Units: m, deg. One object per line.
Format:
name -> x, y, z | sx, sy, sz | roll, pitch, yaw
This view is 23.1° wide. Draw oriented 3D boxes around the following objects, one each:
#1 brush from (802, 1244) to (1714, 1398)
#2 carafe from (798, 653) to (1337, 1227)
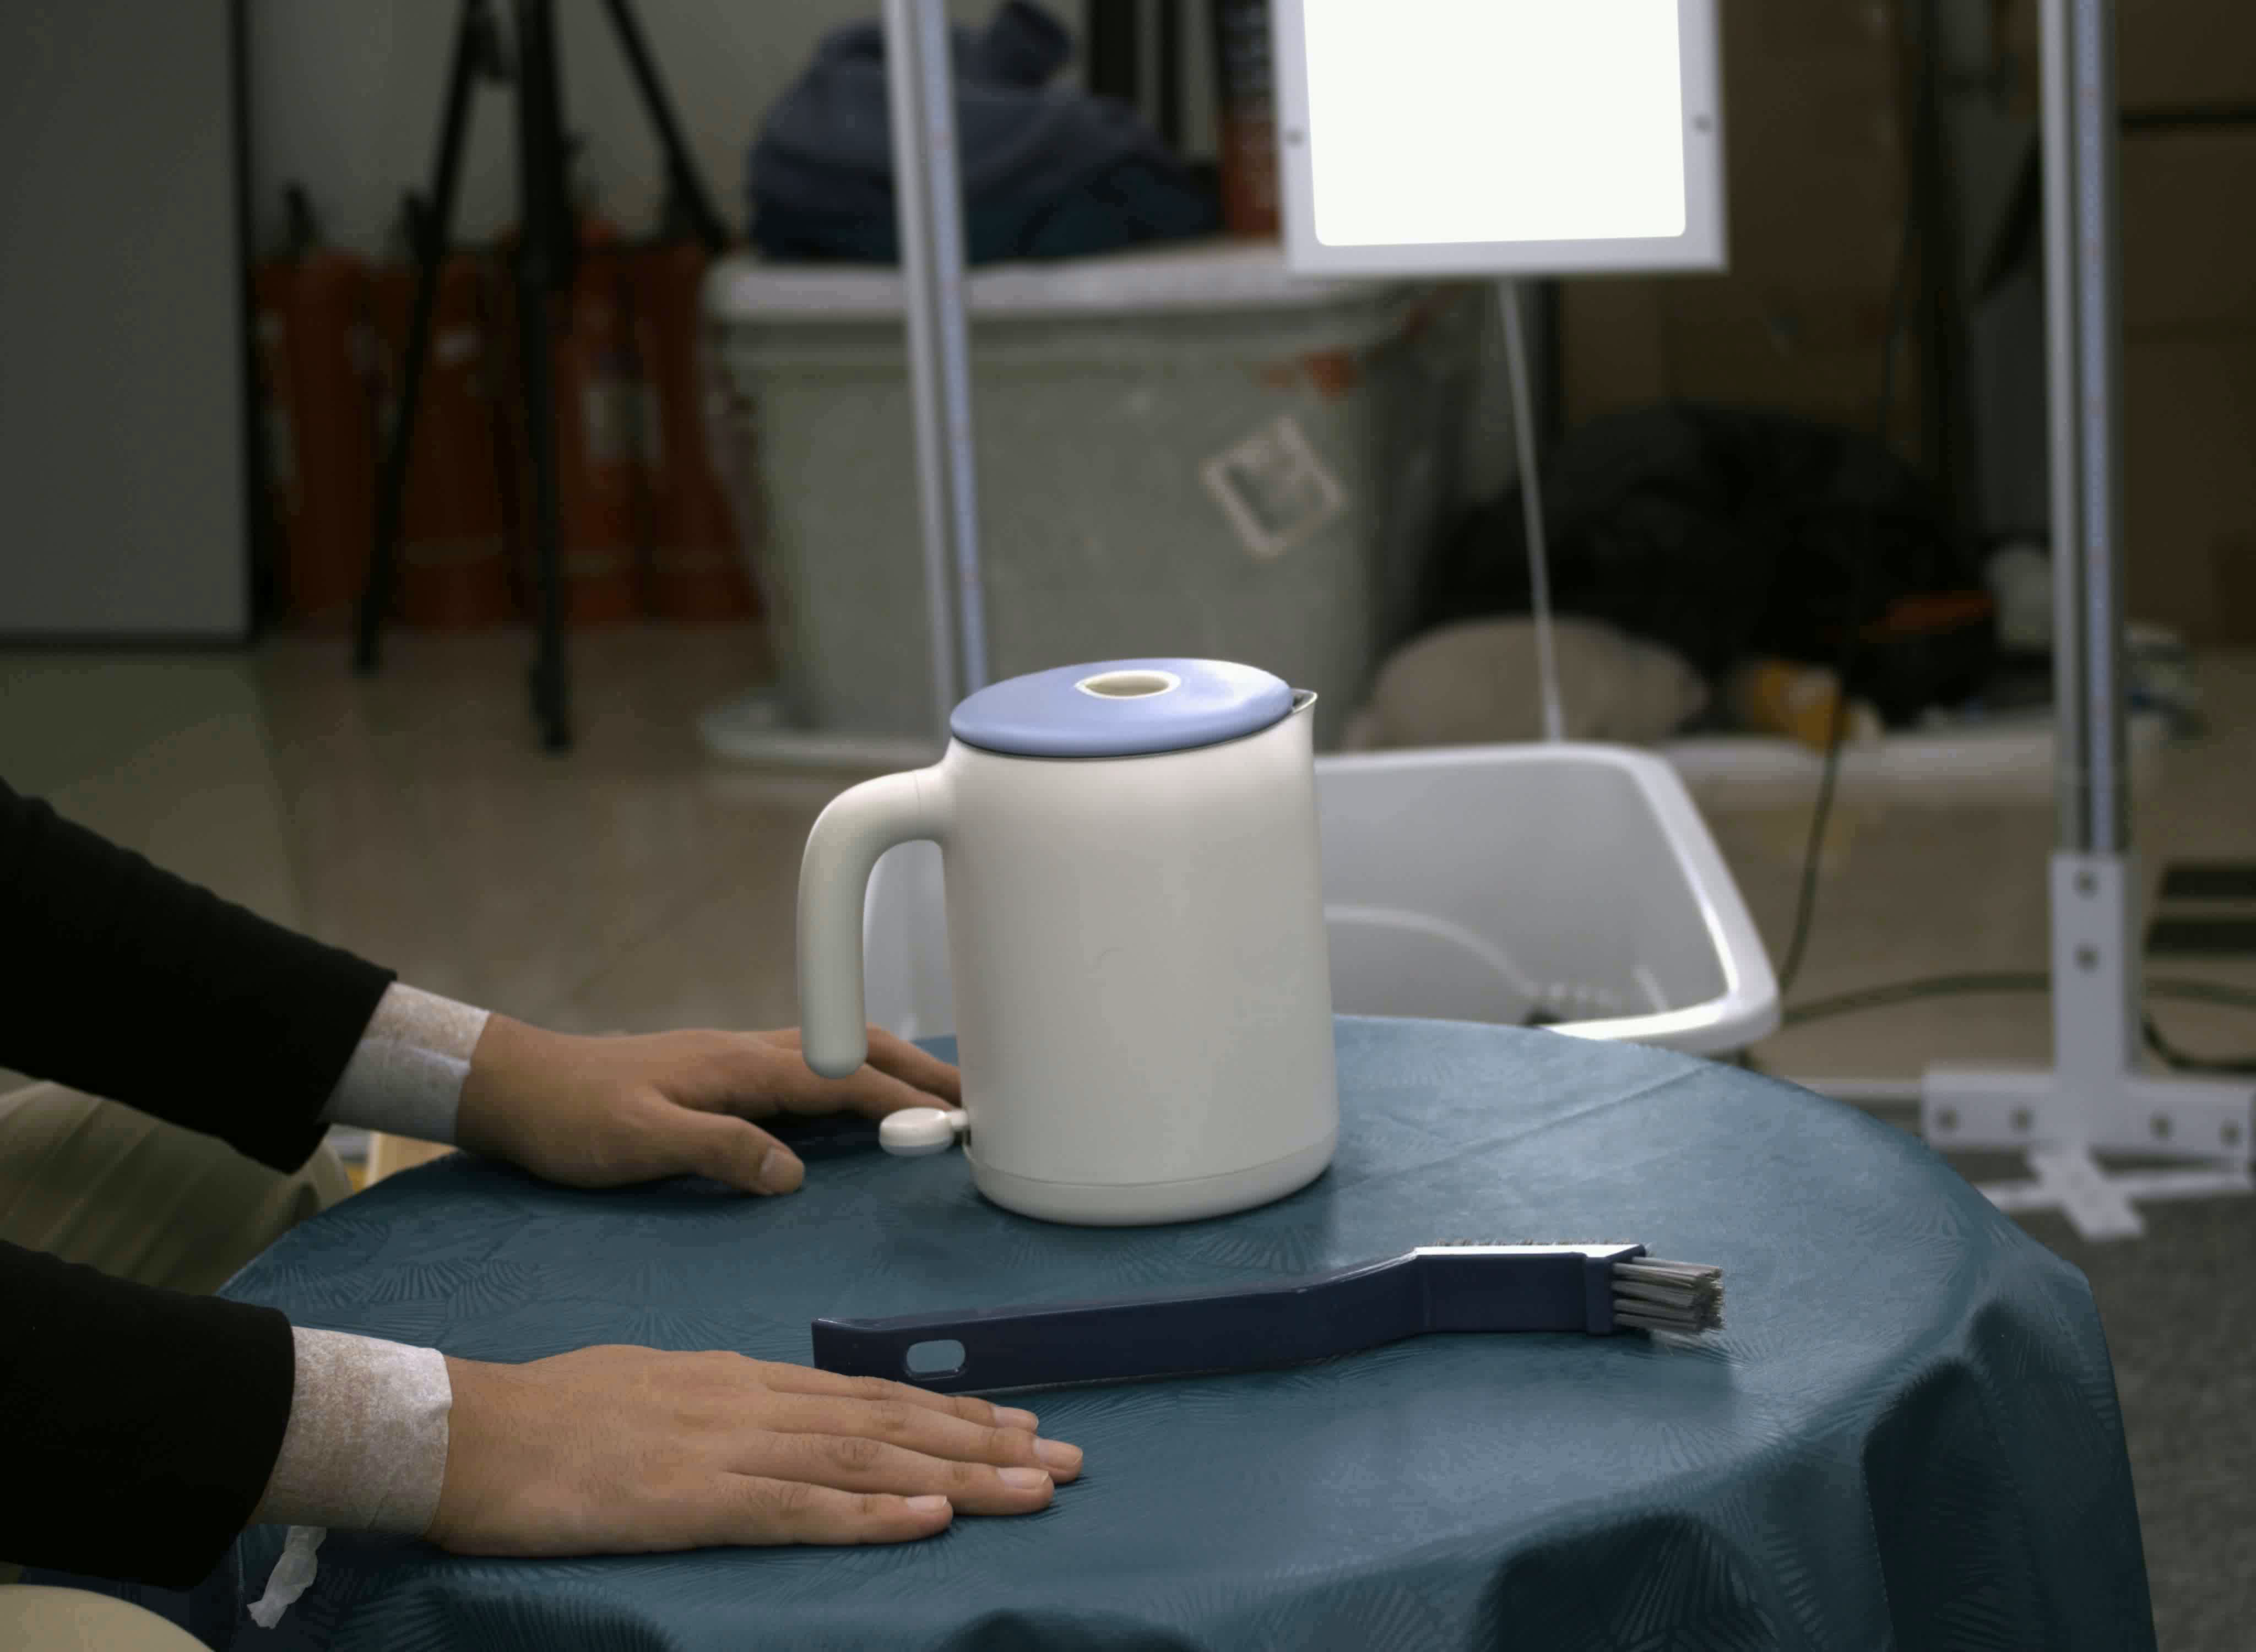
brush -> 0.039, 0.155, 1.703 | 0.270, 0.033, 0.096 | -7, 17, -10
carafe -> -0.021, 0.041, 1.891 | 0.189, 0.183, 0.133 | -8, 14, -9
